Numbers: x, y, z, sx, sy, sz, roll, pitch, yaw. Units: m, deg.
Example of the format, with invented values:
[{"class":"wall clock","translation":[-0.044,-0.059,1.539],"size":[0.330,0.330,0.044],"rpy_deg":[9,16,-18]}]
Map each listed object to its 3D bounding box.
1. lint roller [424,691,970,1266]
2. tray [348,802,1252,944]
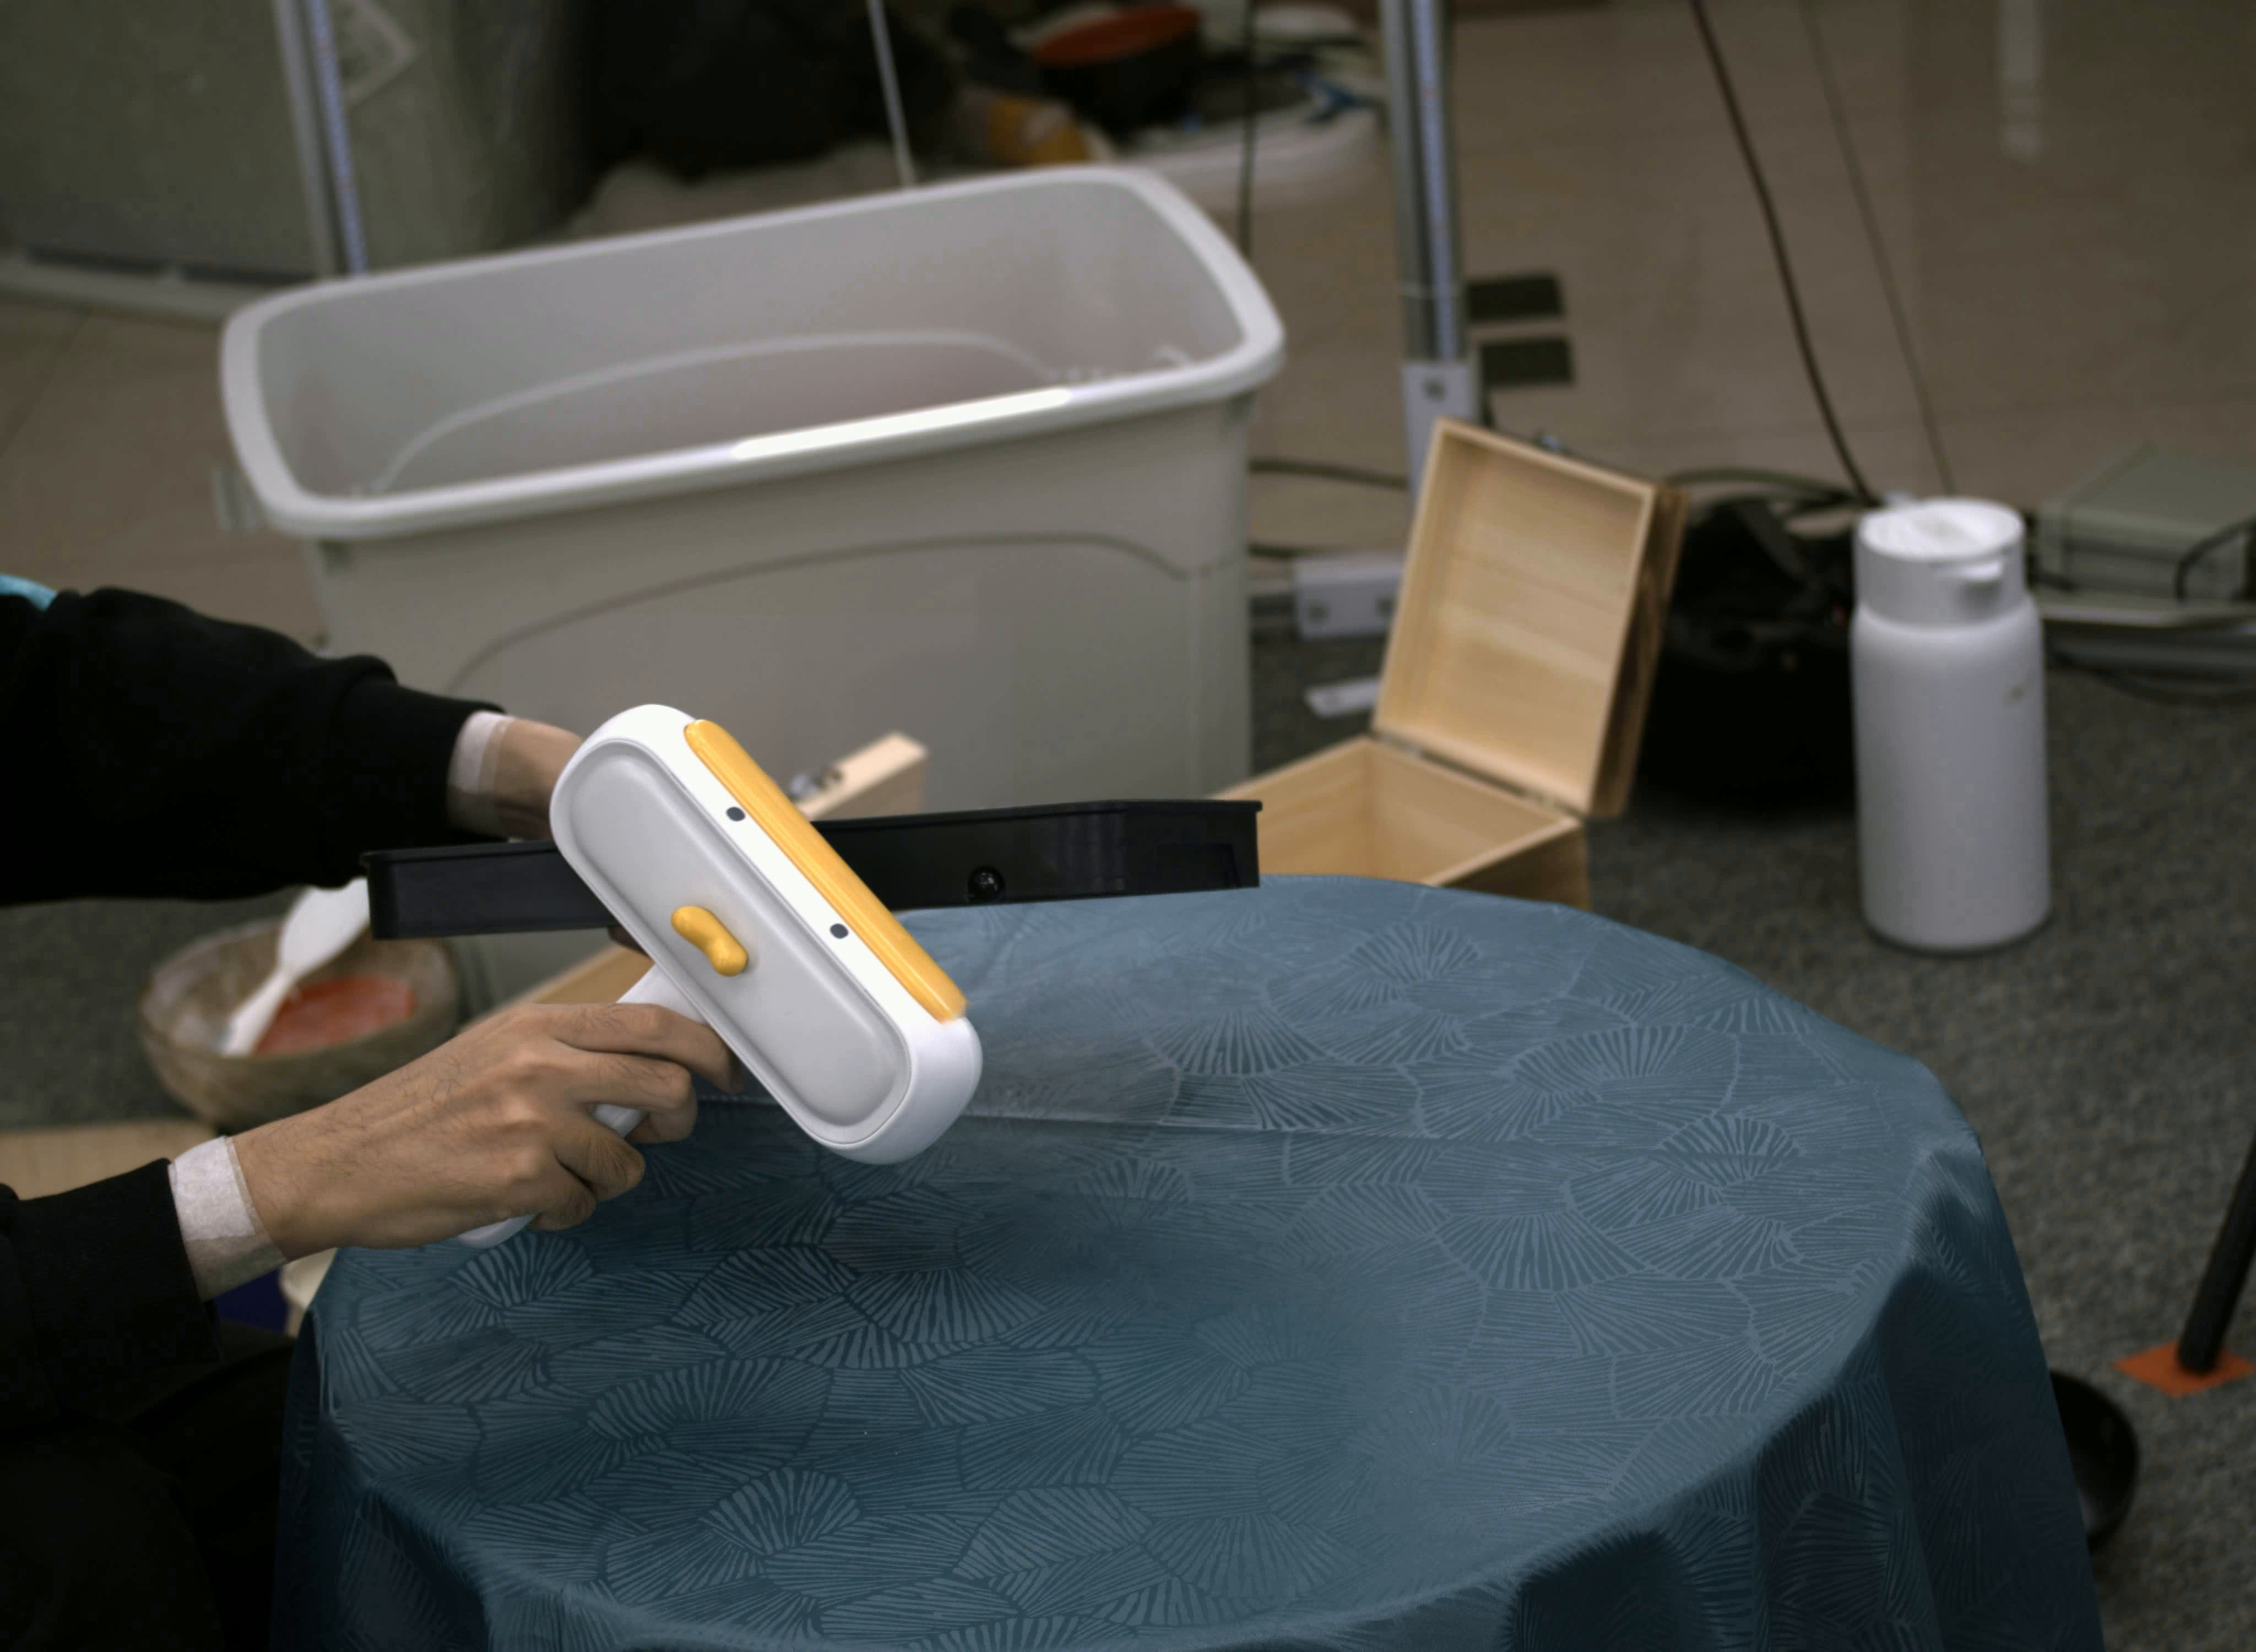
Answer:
[{"class":"lint roller","translation":[-0.175,0.077,2.014],"size":[0.192,0.194,0.074],"rpy_deg":[43,14,9]},{"class":"tray","translation":[-0.124,0.018,2.180],"size":[0.317,0.037,0.184],"rpy_deg":[-3,-1,19]}]
